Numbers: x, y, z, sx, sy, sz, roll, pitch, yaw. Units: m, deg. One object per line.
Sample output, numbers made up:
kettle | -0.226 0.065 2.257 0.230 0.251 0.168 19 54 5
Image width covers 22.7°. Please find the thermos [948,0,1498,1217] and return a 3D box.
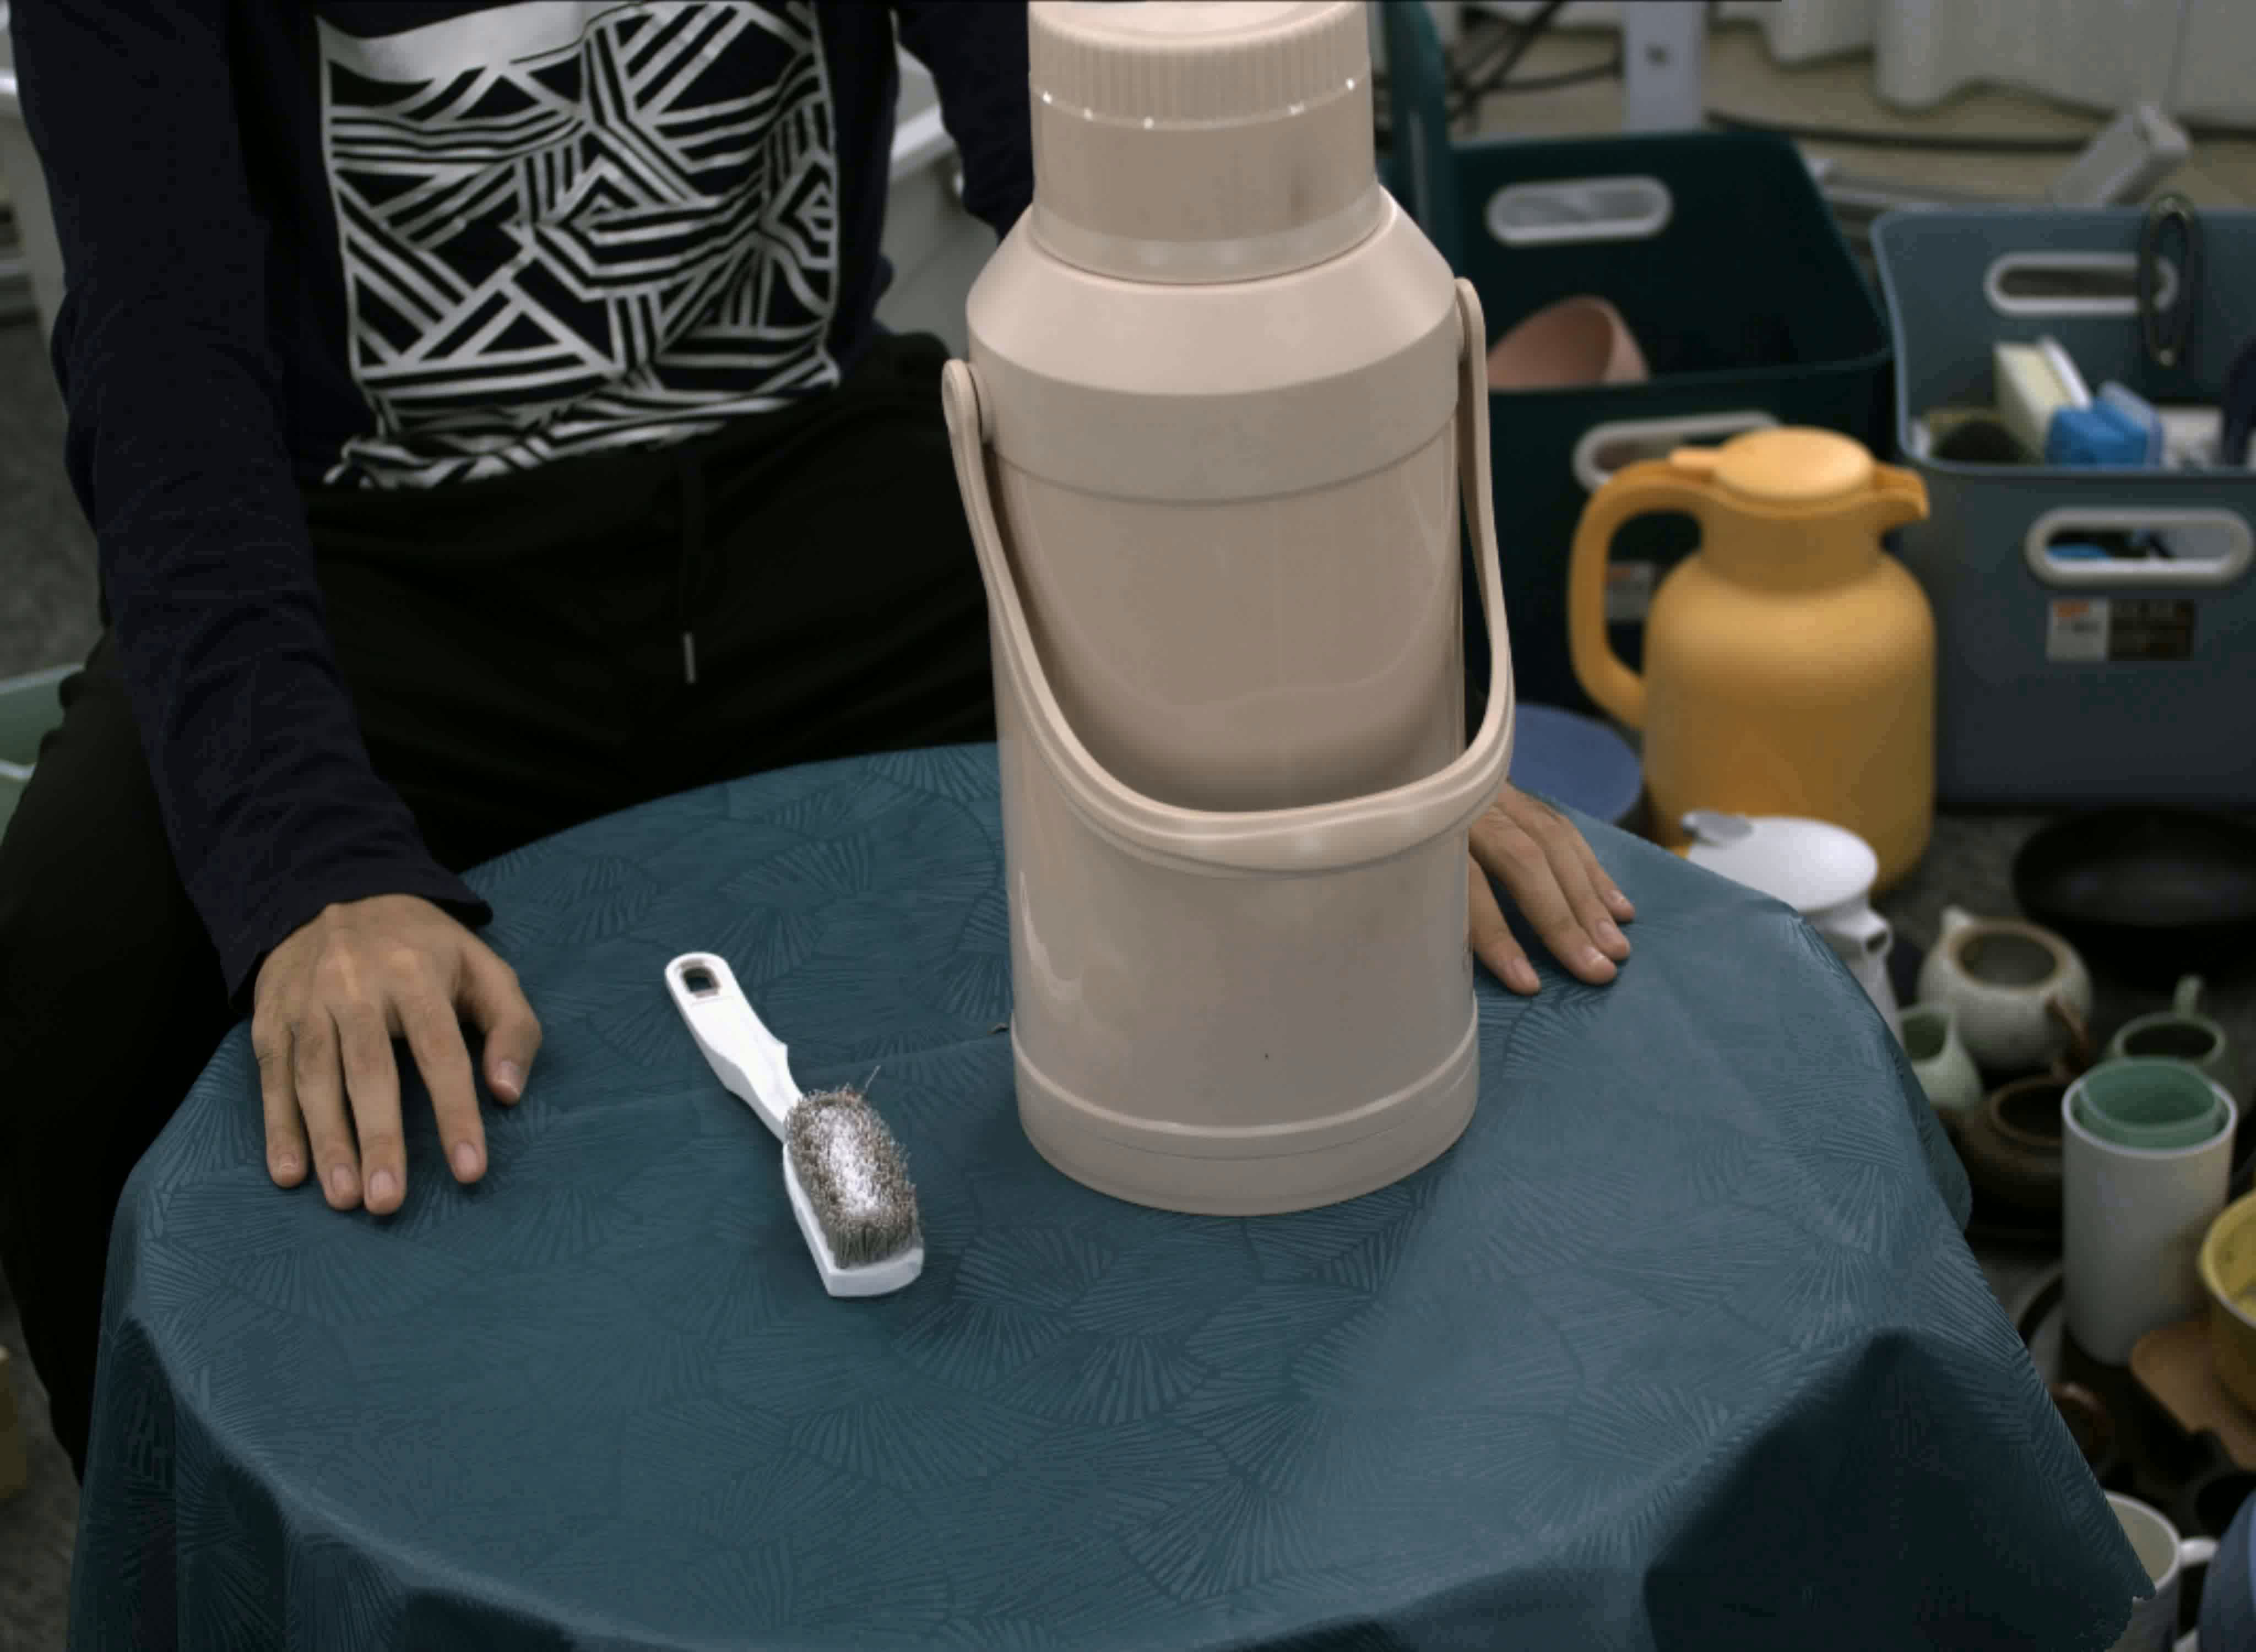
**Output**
thermos | 0.031 -0.090 1.839 0.175 0.402 0.209 -12 27 -14

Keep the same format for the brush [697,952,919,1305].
brush | -0.114 0.084 1.892 0.034 0.050 0.246 -14 29 -10
